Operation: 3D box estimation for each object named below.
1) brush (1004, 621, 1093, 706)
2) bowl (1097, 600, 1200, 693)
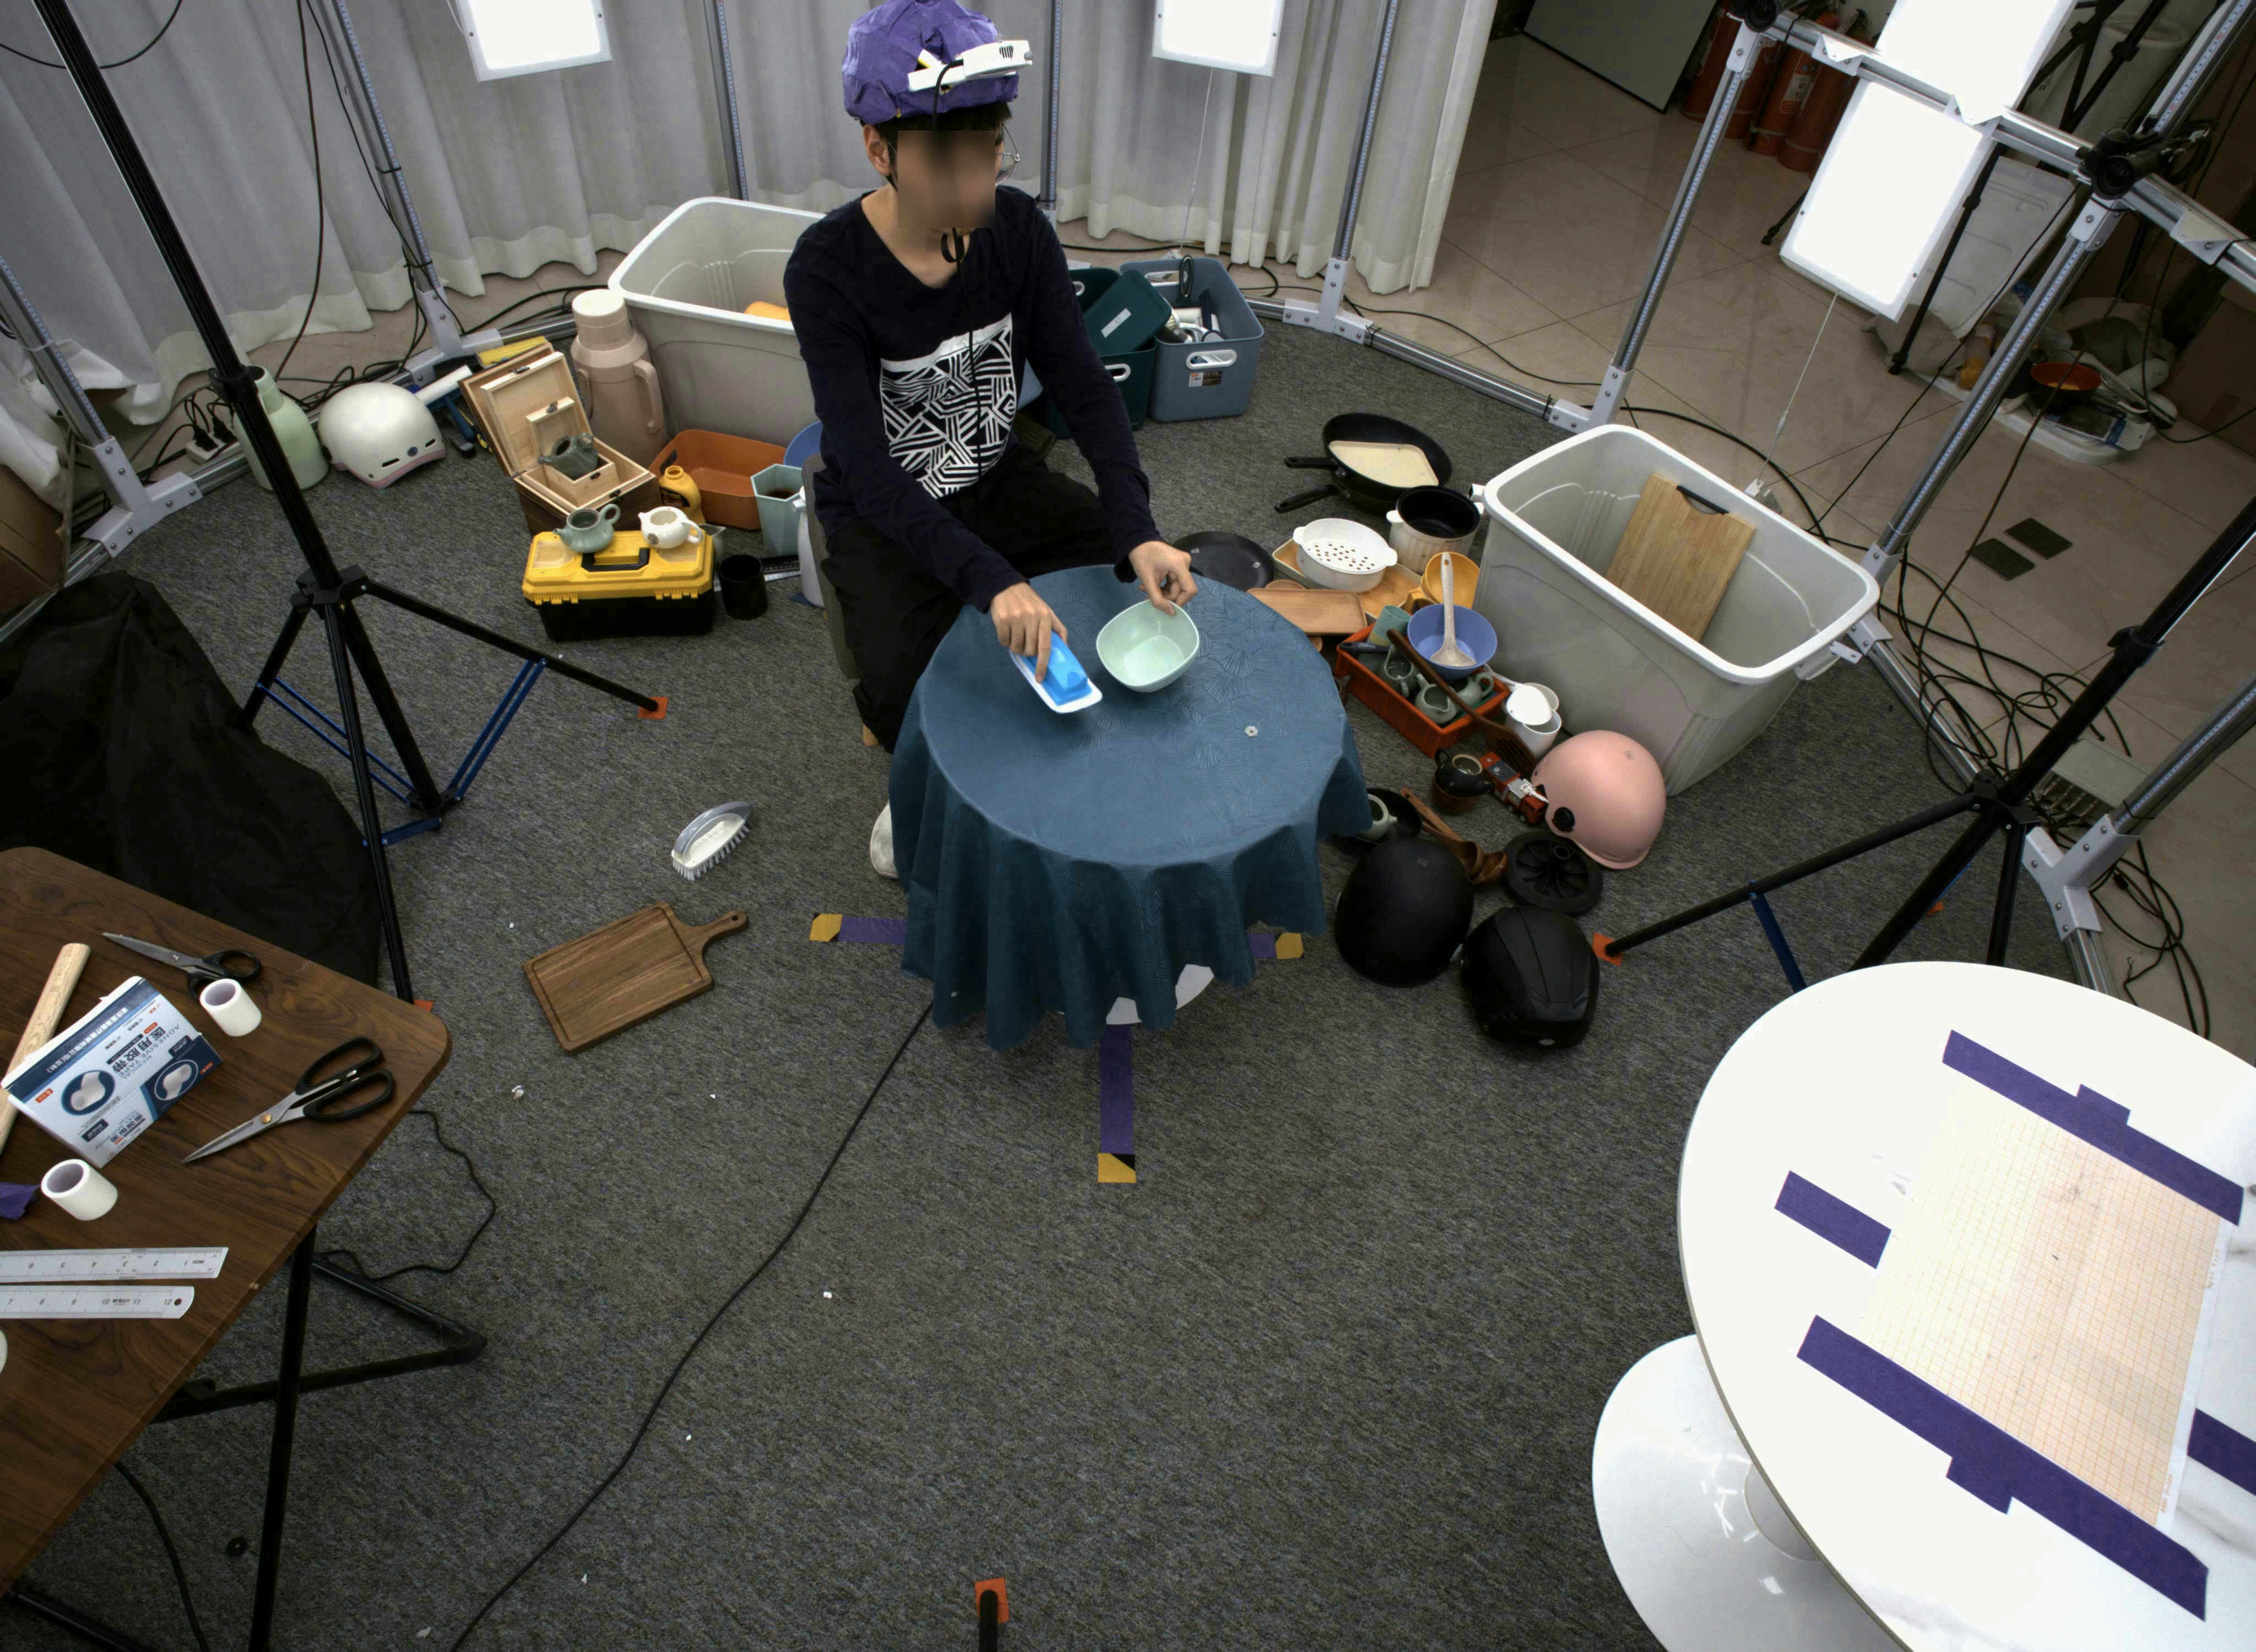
[{"bbox_3d":[-0.105,-0.229,1.756,0.084,0.055,0.147,-16,57,-29],"label":"brush"},{"bbox_3d":[0.035,-0.246,1.832,0.151,0.057,0.155,-8,57,13],"label":"bowl"}]
